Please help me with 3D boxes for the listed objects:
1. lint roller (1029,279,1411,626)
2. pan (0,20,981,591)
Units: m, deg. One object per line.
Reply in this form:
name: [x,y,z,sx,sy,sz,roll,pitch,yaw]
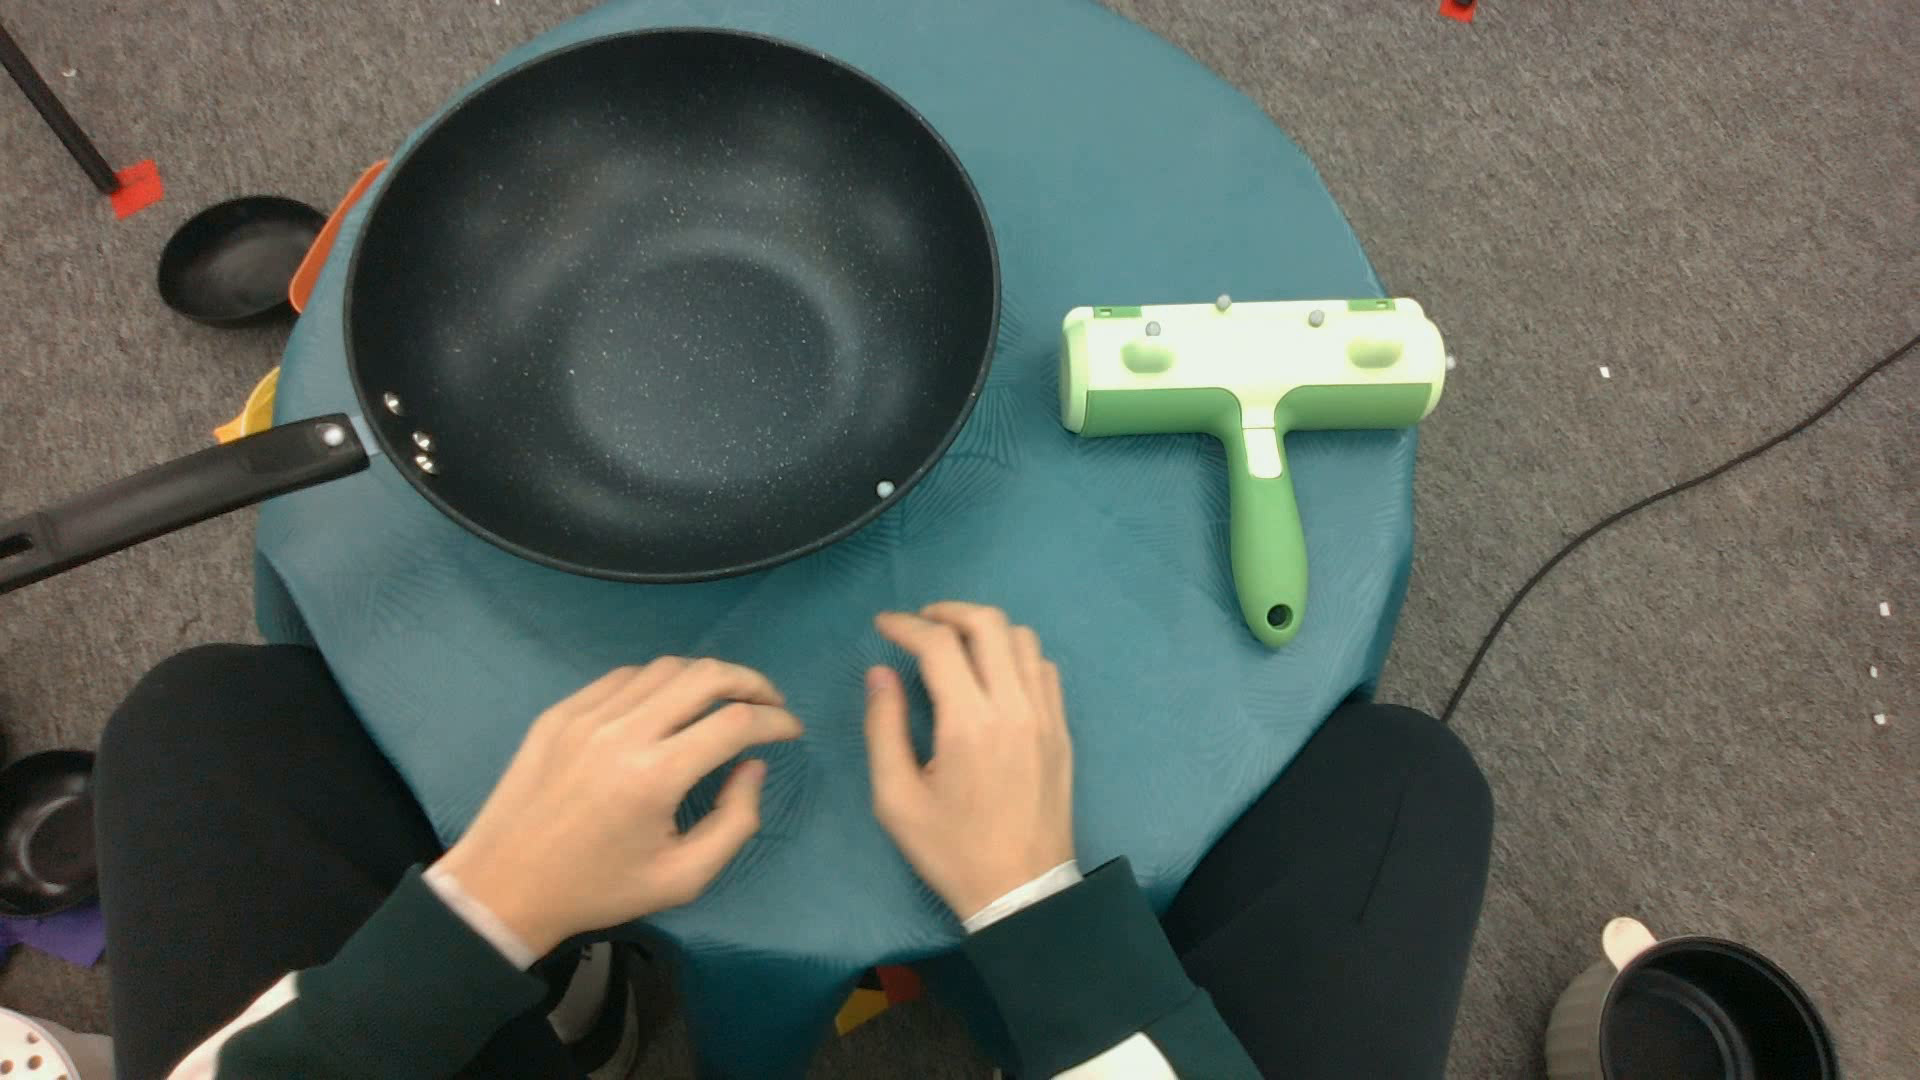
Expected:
lint roller: [0.141,-0.054,0.695,0.199,0.082,0.184,-3,63,-5]
pan: [-0.215,-0.079,0.664,0.478,0.111,0.310,-31,72,-16]
